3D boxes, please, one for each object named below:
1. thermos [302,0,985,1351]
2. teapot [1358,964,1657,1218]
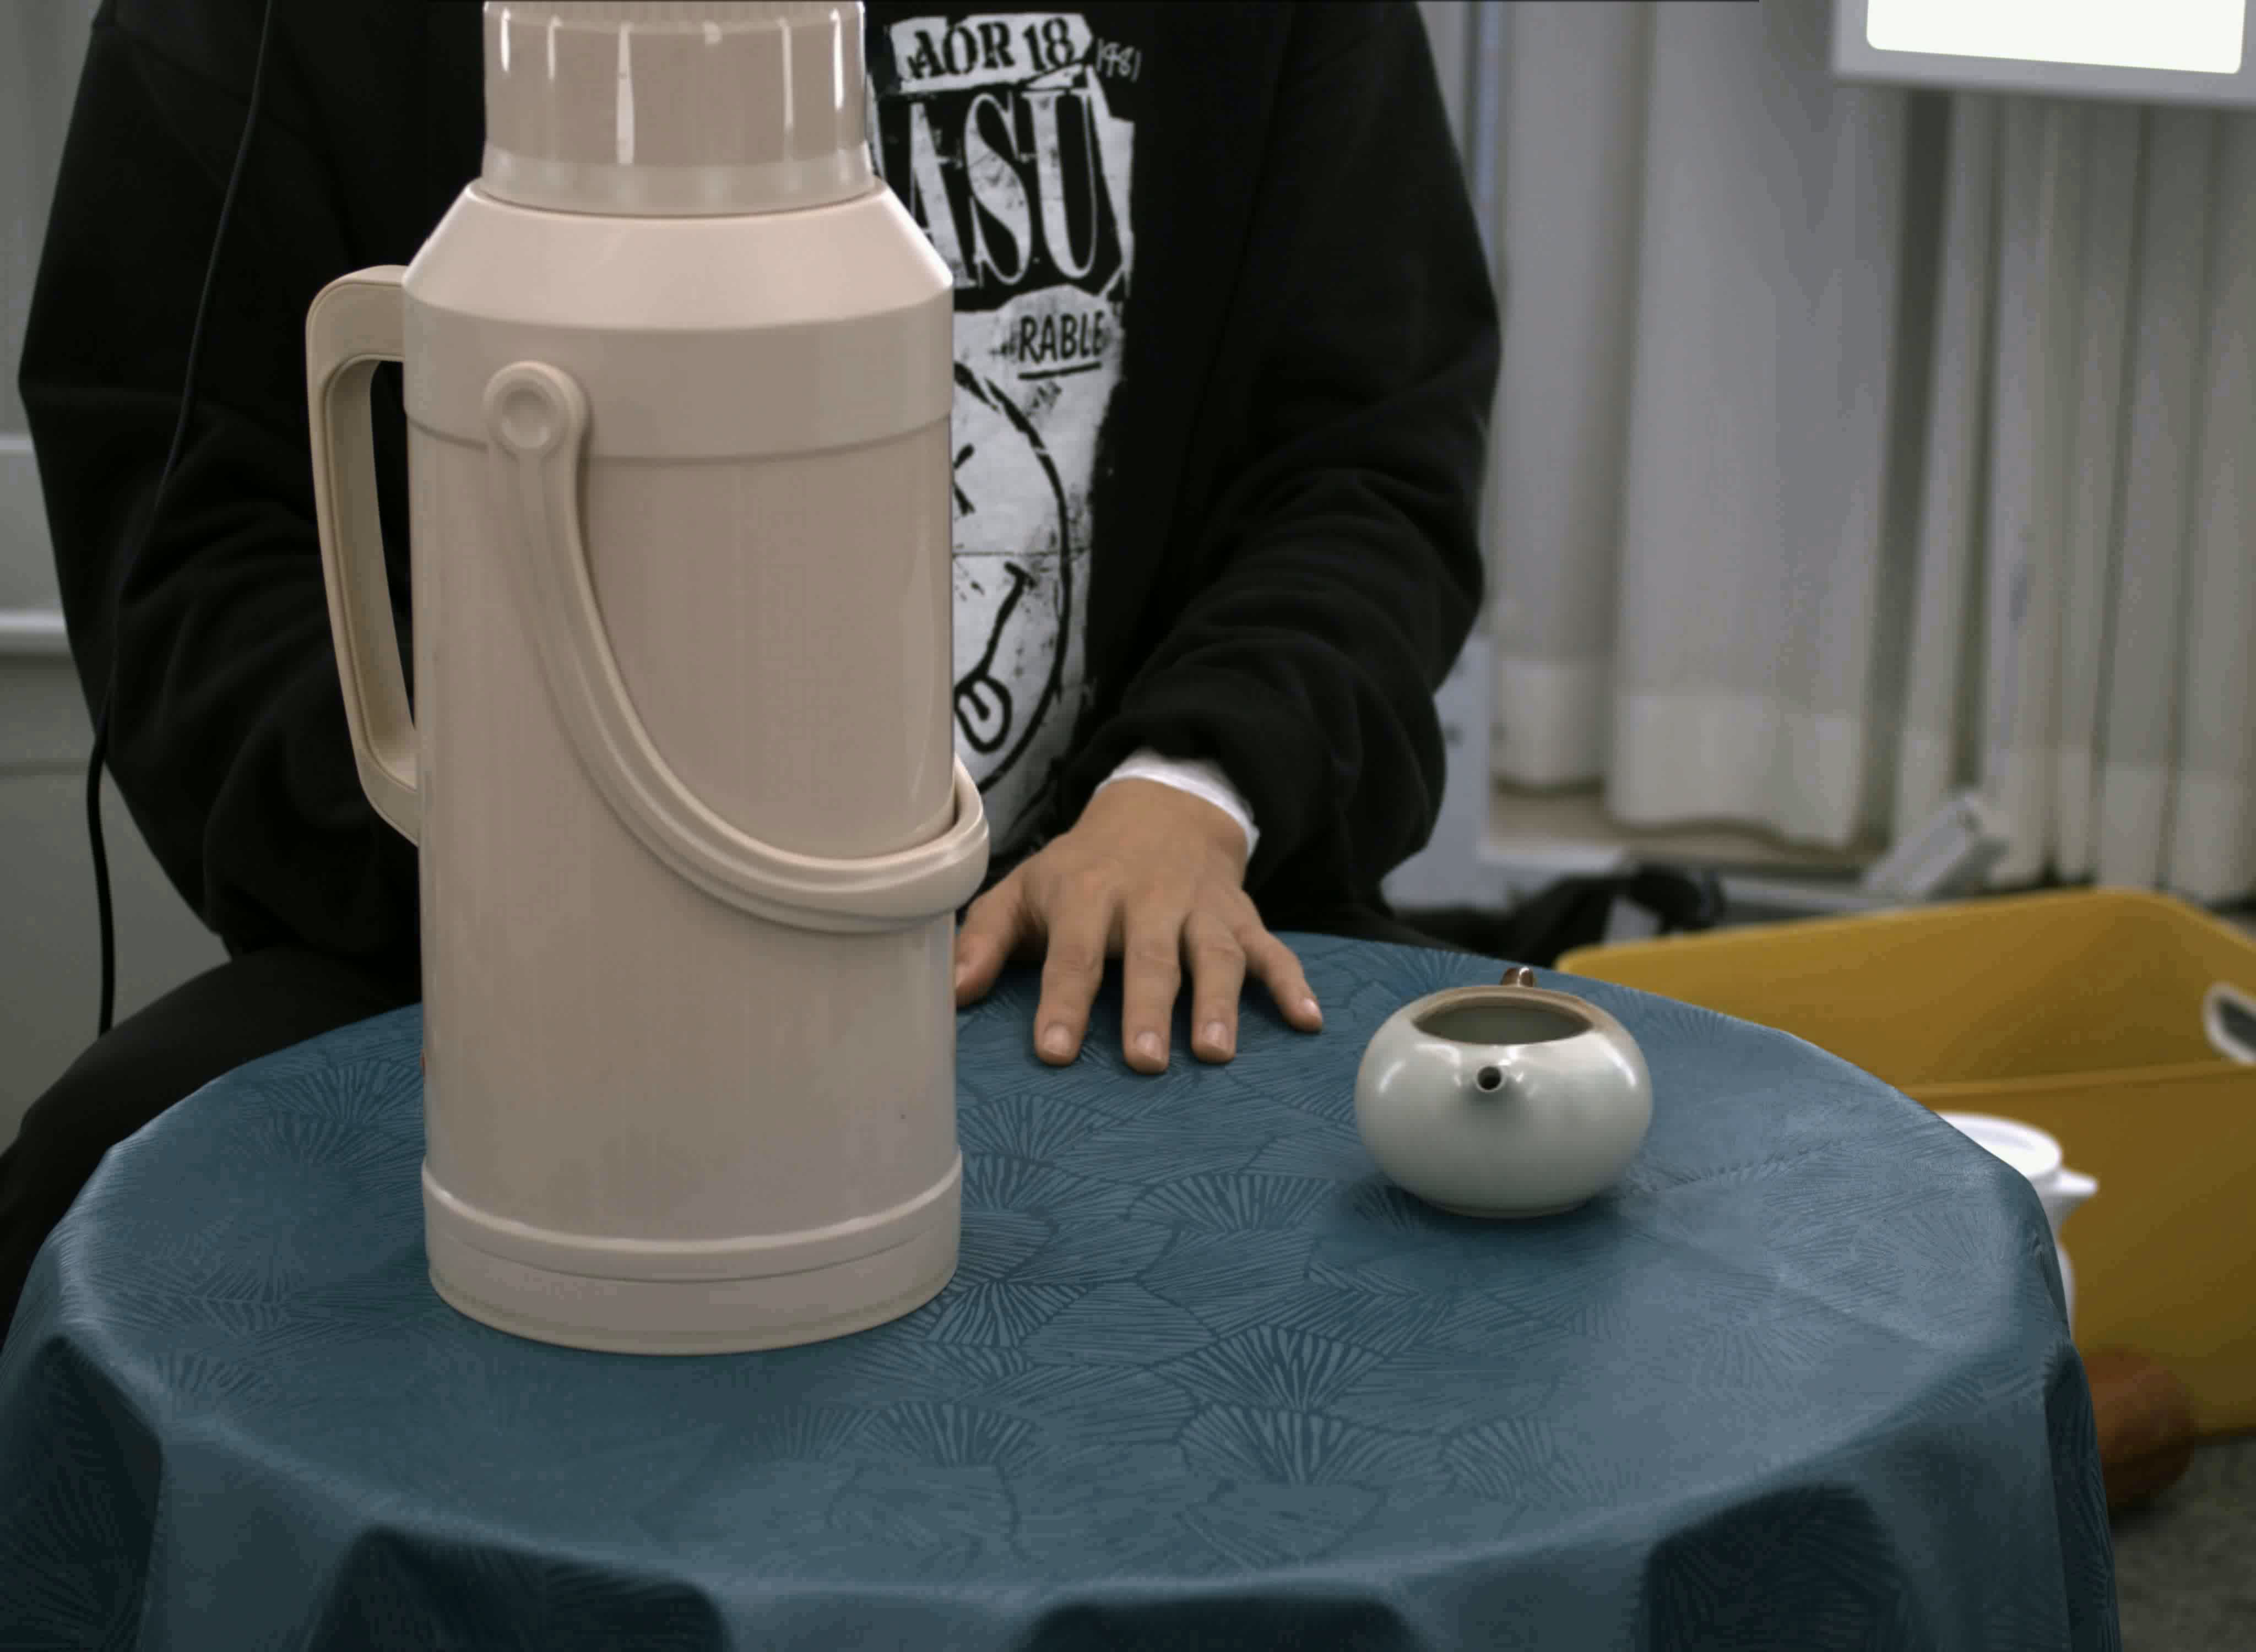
[{"bbox_3d":[-0.141,-0.064,1.511,0.205,0.410,0.175,7,19,21],"label":"thermos"},{"bbox_3d":[0.117,0.081,1.626,0.091,0.060,0.127,-2,16,7],"label":"teapot"}]
